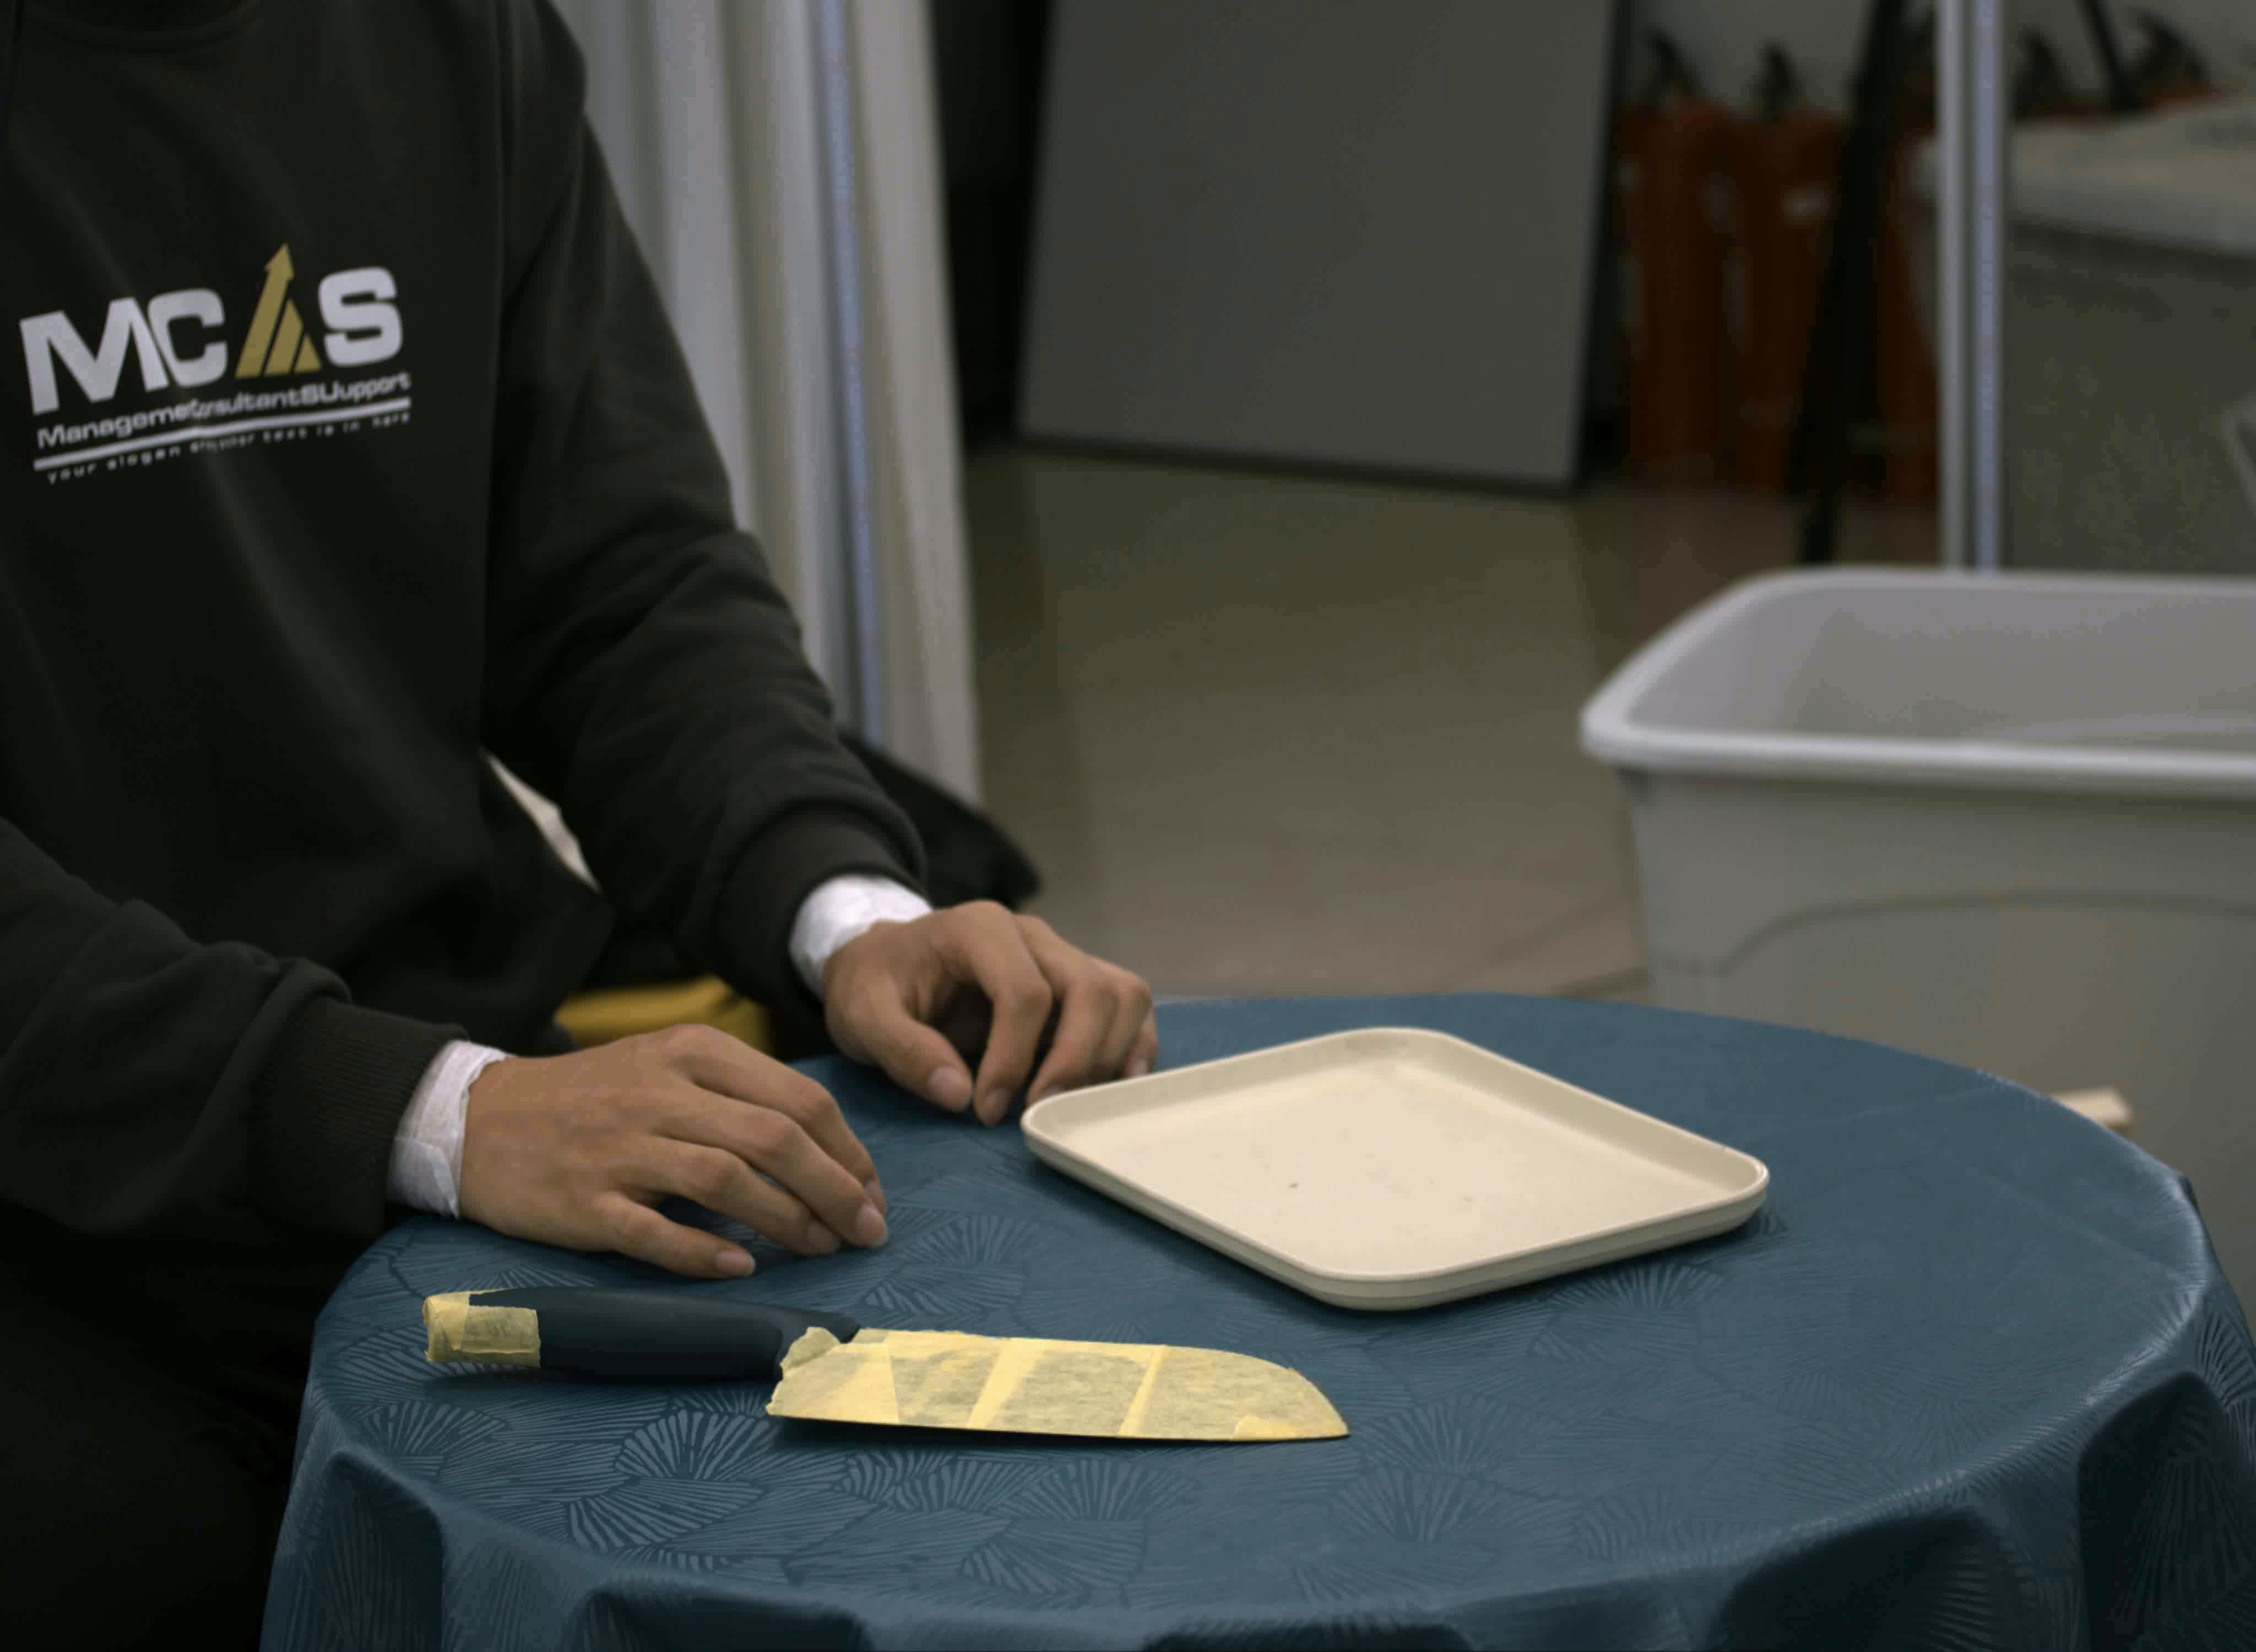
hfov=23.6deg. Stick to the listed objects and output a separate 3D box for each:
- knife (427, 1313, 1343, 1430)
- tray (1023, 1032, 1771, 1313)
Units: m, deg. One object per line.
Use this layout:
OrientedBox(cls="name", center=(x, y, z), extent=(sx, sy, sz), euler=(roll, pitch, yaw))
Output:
OrientedBox(cls="knife", center=(-0.075, 0.164, 1.590), extent=(0.288, 0.027, 0.080), euler=(0, 12, 15))
OrientedBox(cls="tray", center=(0.084, 0.111, 1.753), extent=(0.167, 0.017, 0.242), euler=(-12, 15, -26))
